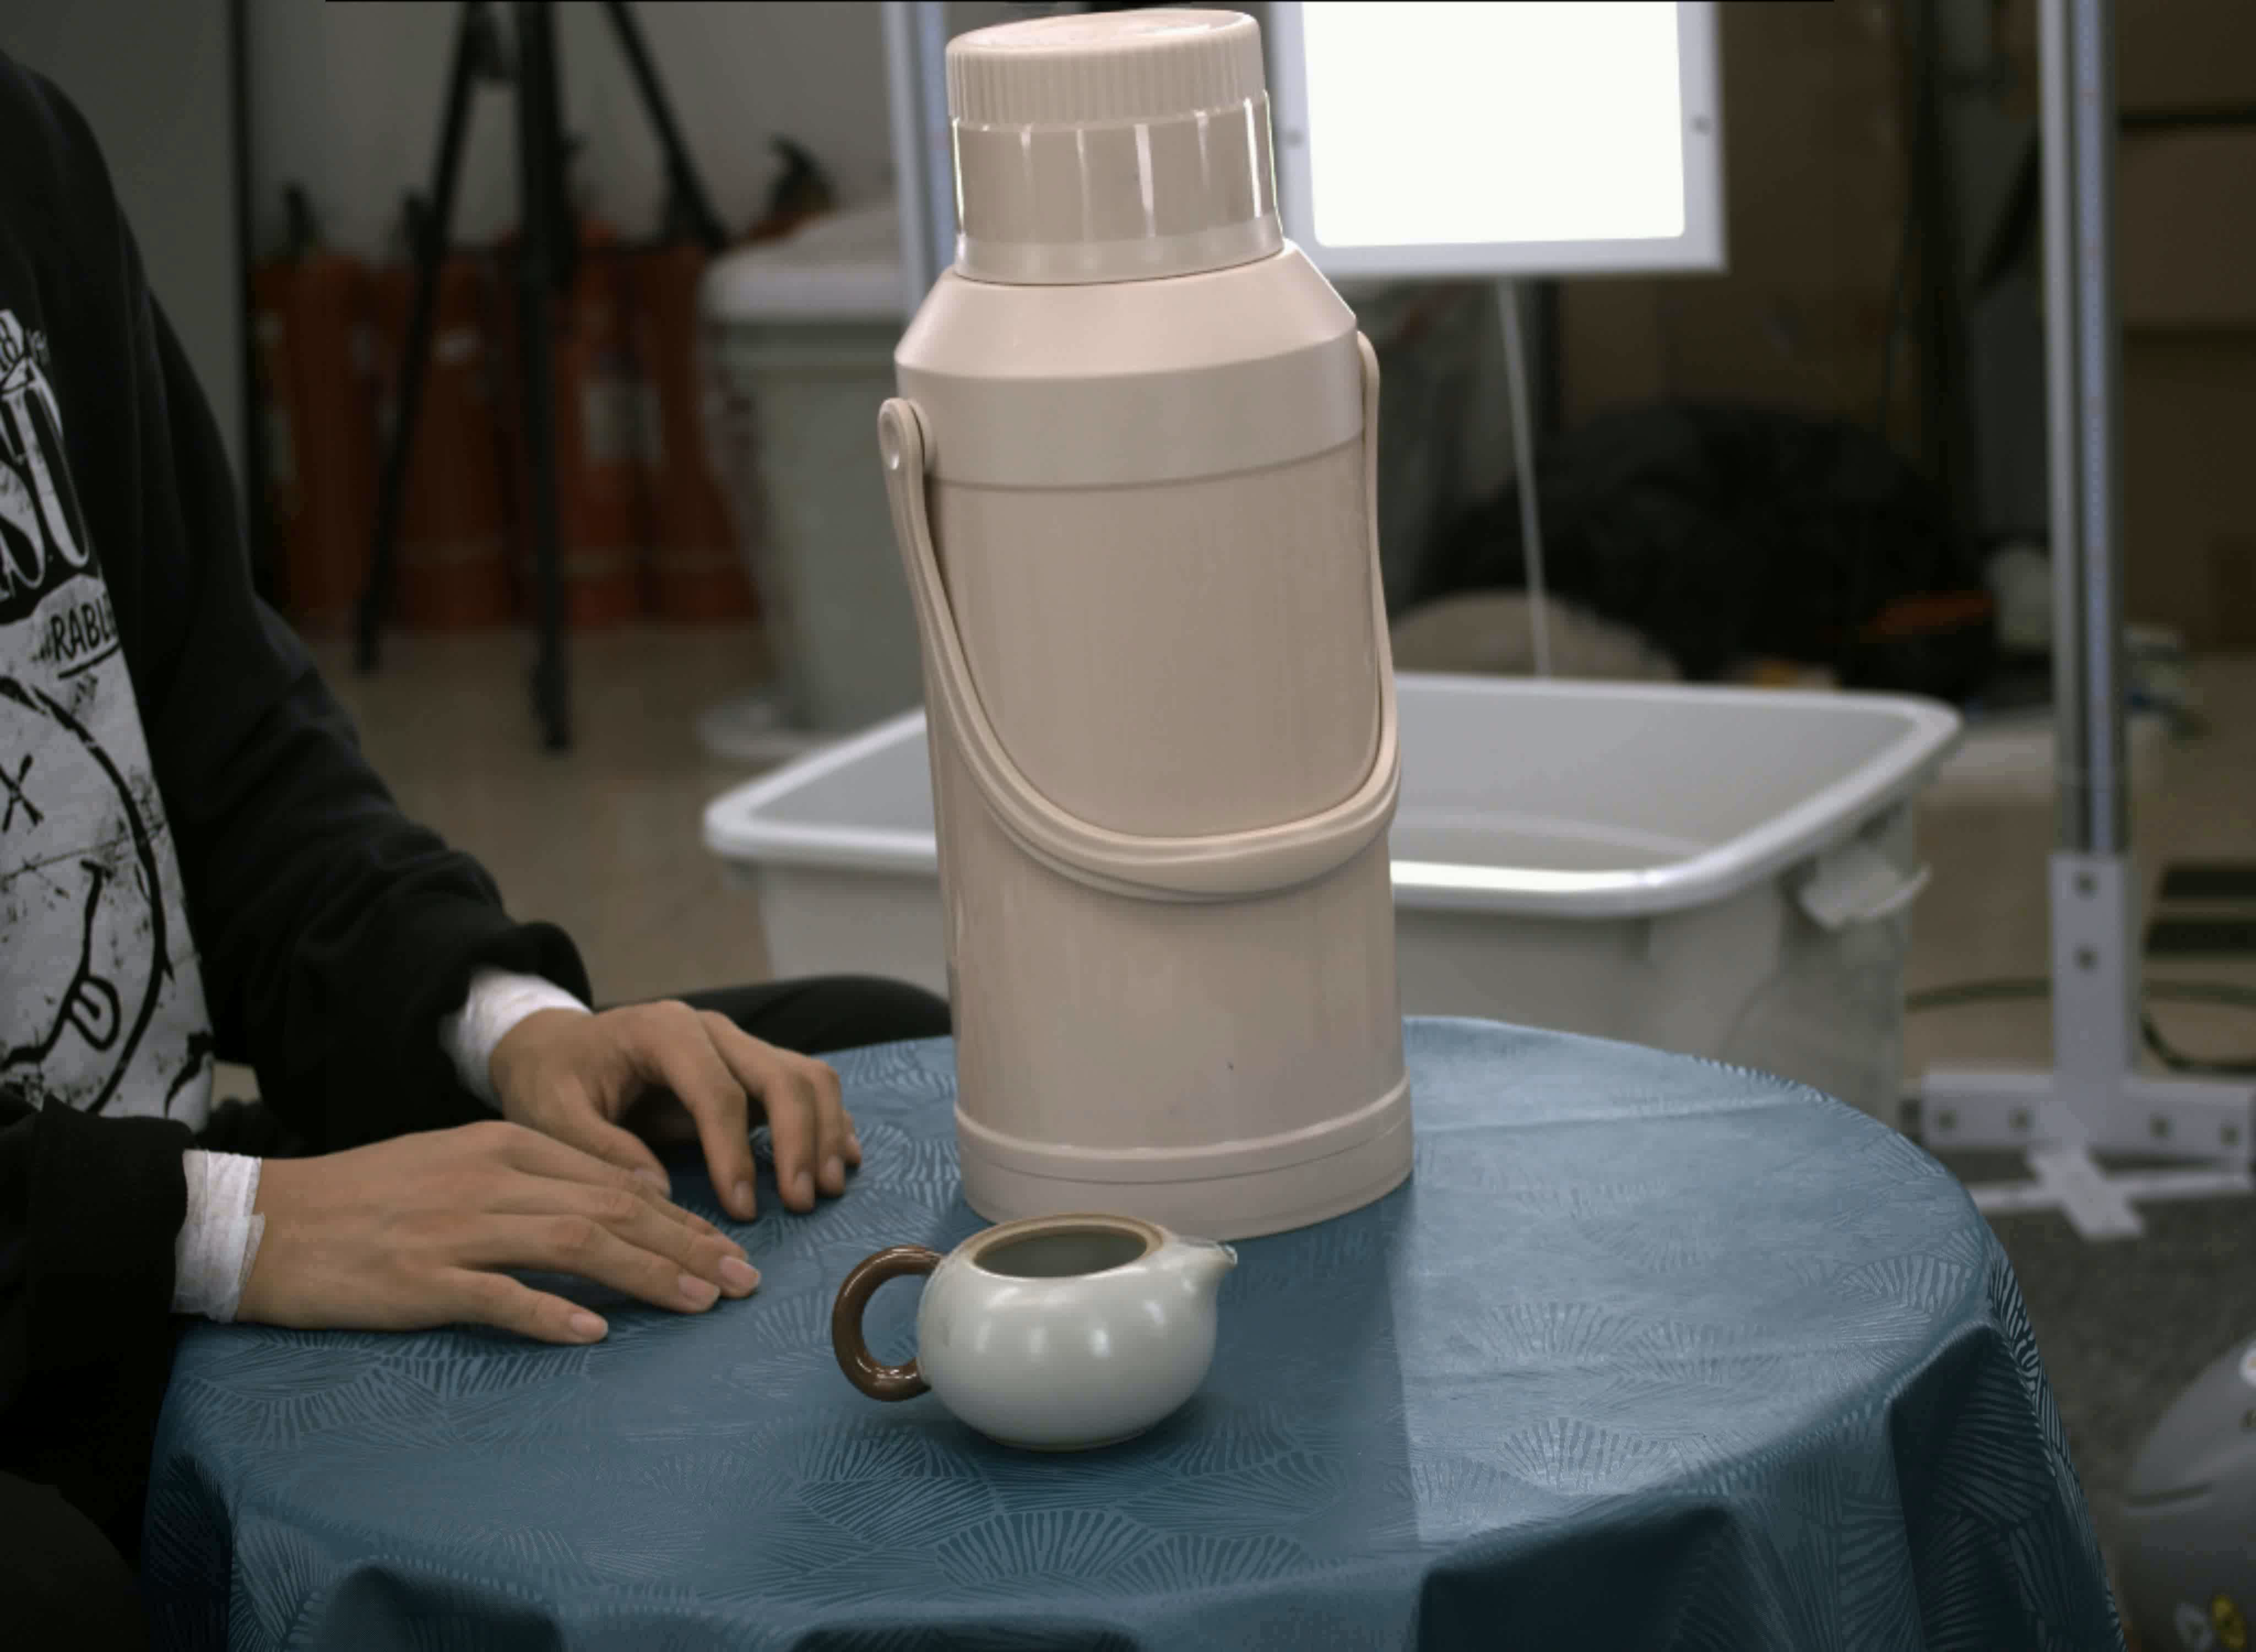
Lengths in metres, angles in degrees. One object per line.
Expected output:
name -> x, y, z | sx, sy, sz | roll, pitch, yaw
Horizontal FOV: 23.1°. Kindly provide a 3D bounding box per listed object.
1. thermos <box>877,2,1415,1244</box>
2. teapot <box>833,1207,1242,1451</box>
thermos -> 0.002, -0.073, 1.879 | 0.172, 0.408, 0.210 | -12, 16, -22
teapot -> -0.027, 0.153, 1.677 | 0.129, 0.060, 0.091 | -2, 19, 10
